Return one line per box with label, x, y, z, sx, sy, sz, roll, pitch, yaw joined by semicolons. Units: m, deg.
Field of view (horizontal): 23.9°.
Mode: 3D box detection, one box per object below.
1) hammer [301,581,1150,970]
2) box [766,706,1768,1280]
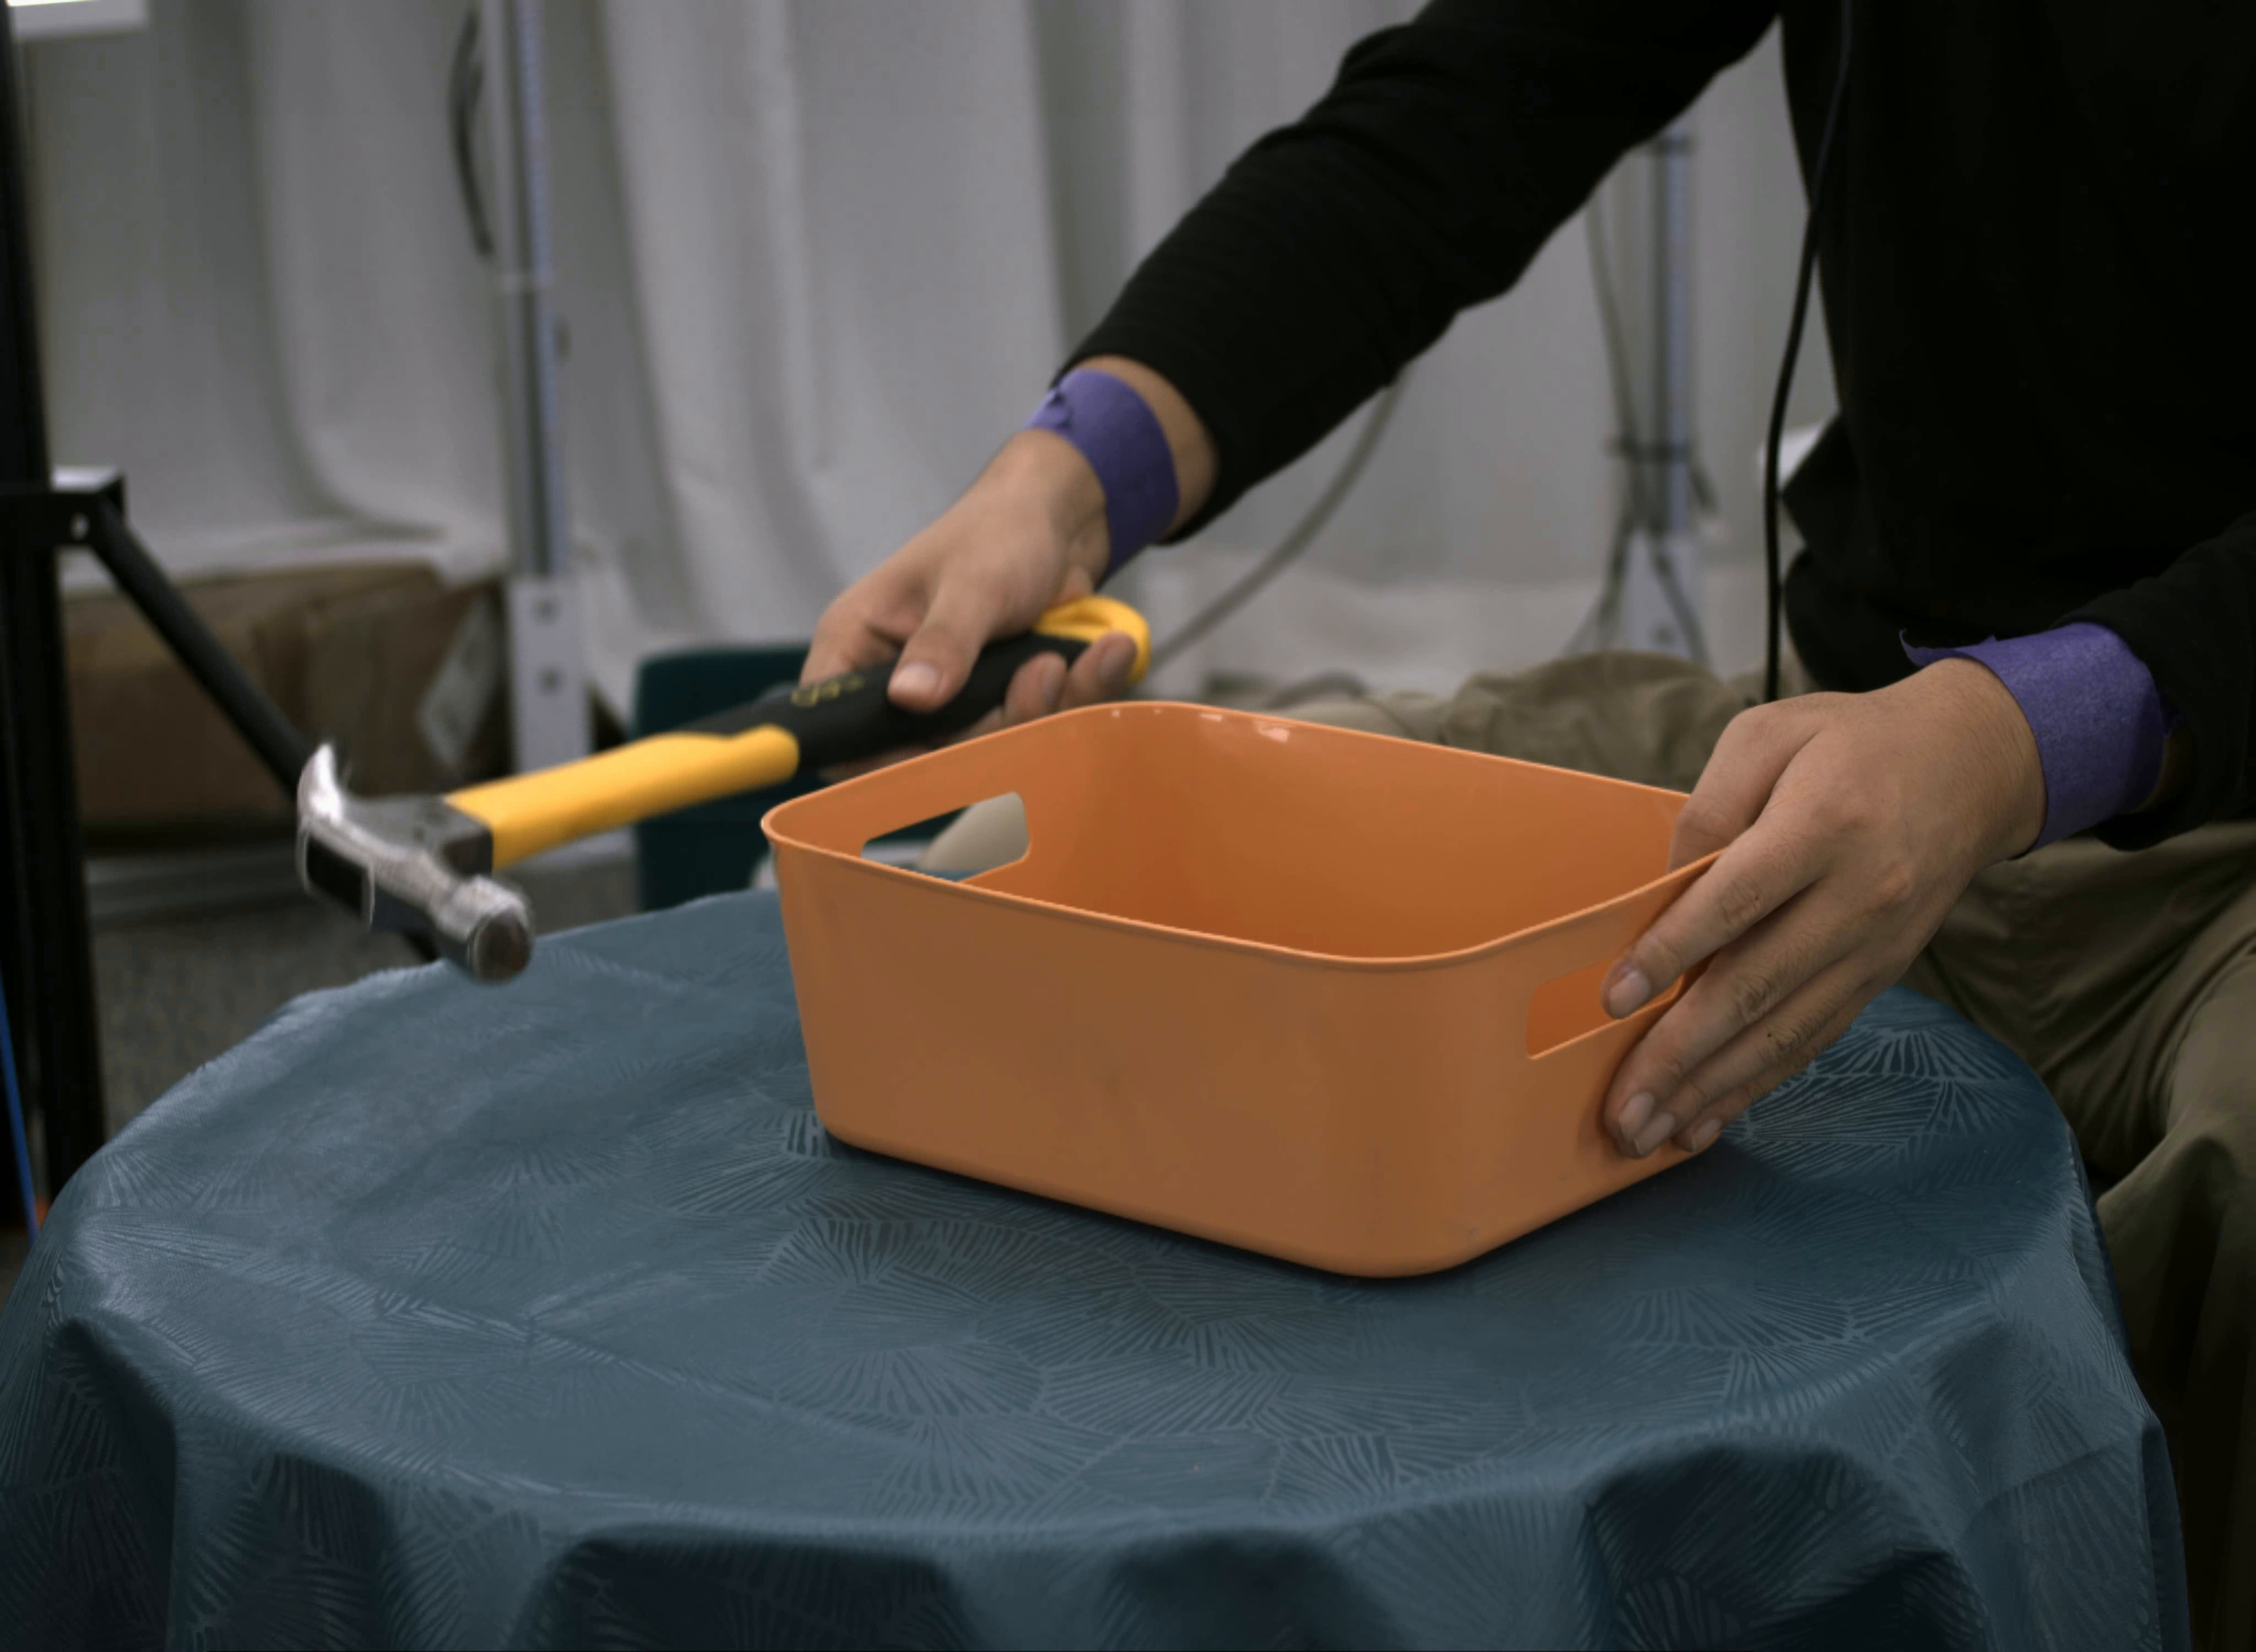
hammer;-0.120;-0.031;1.718;0.331;0.032;0.134;-19;34;-40
box;0.040;0.046;1.580;0.279;0.102;0.195;12;20;41
